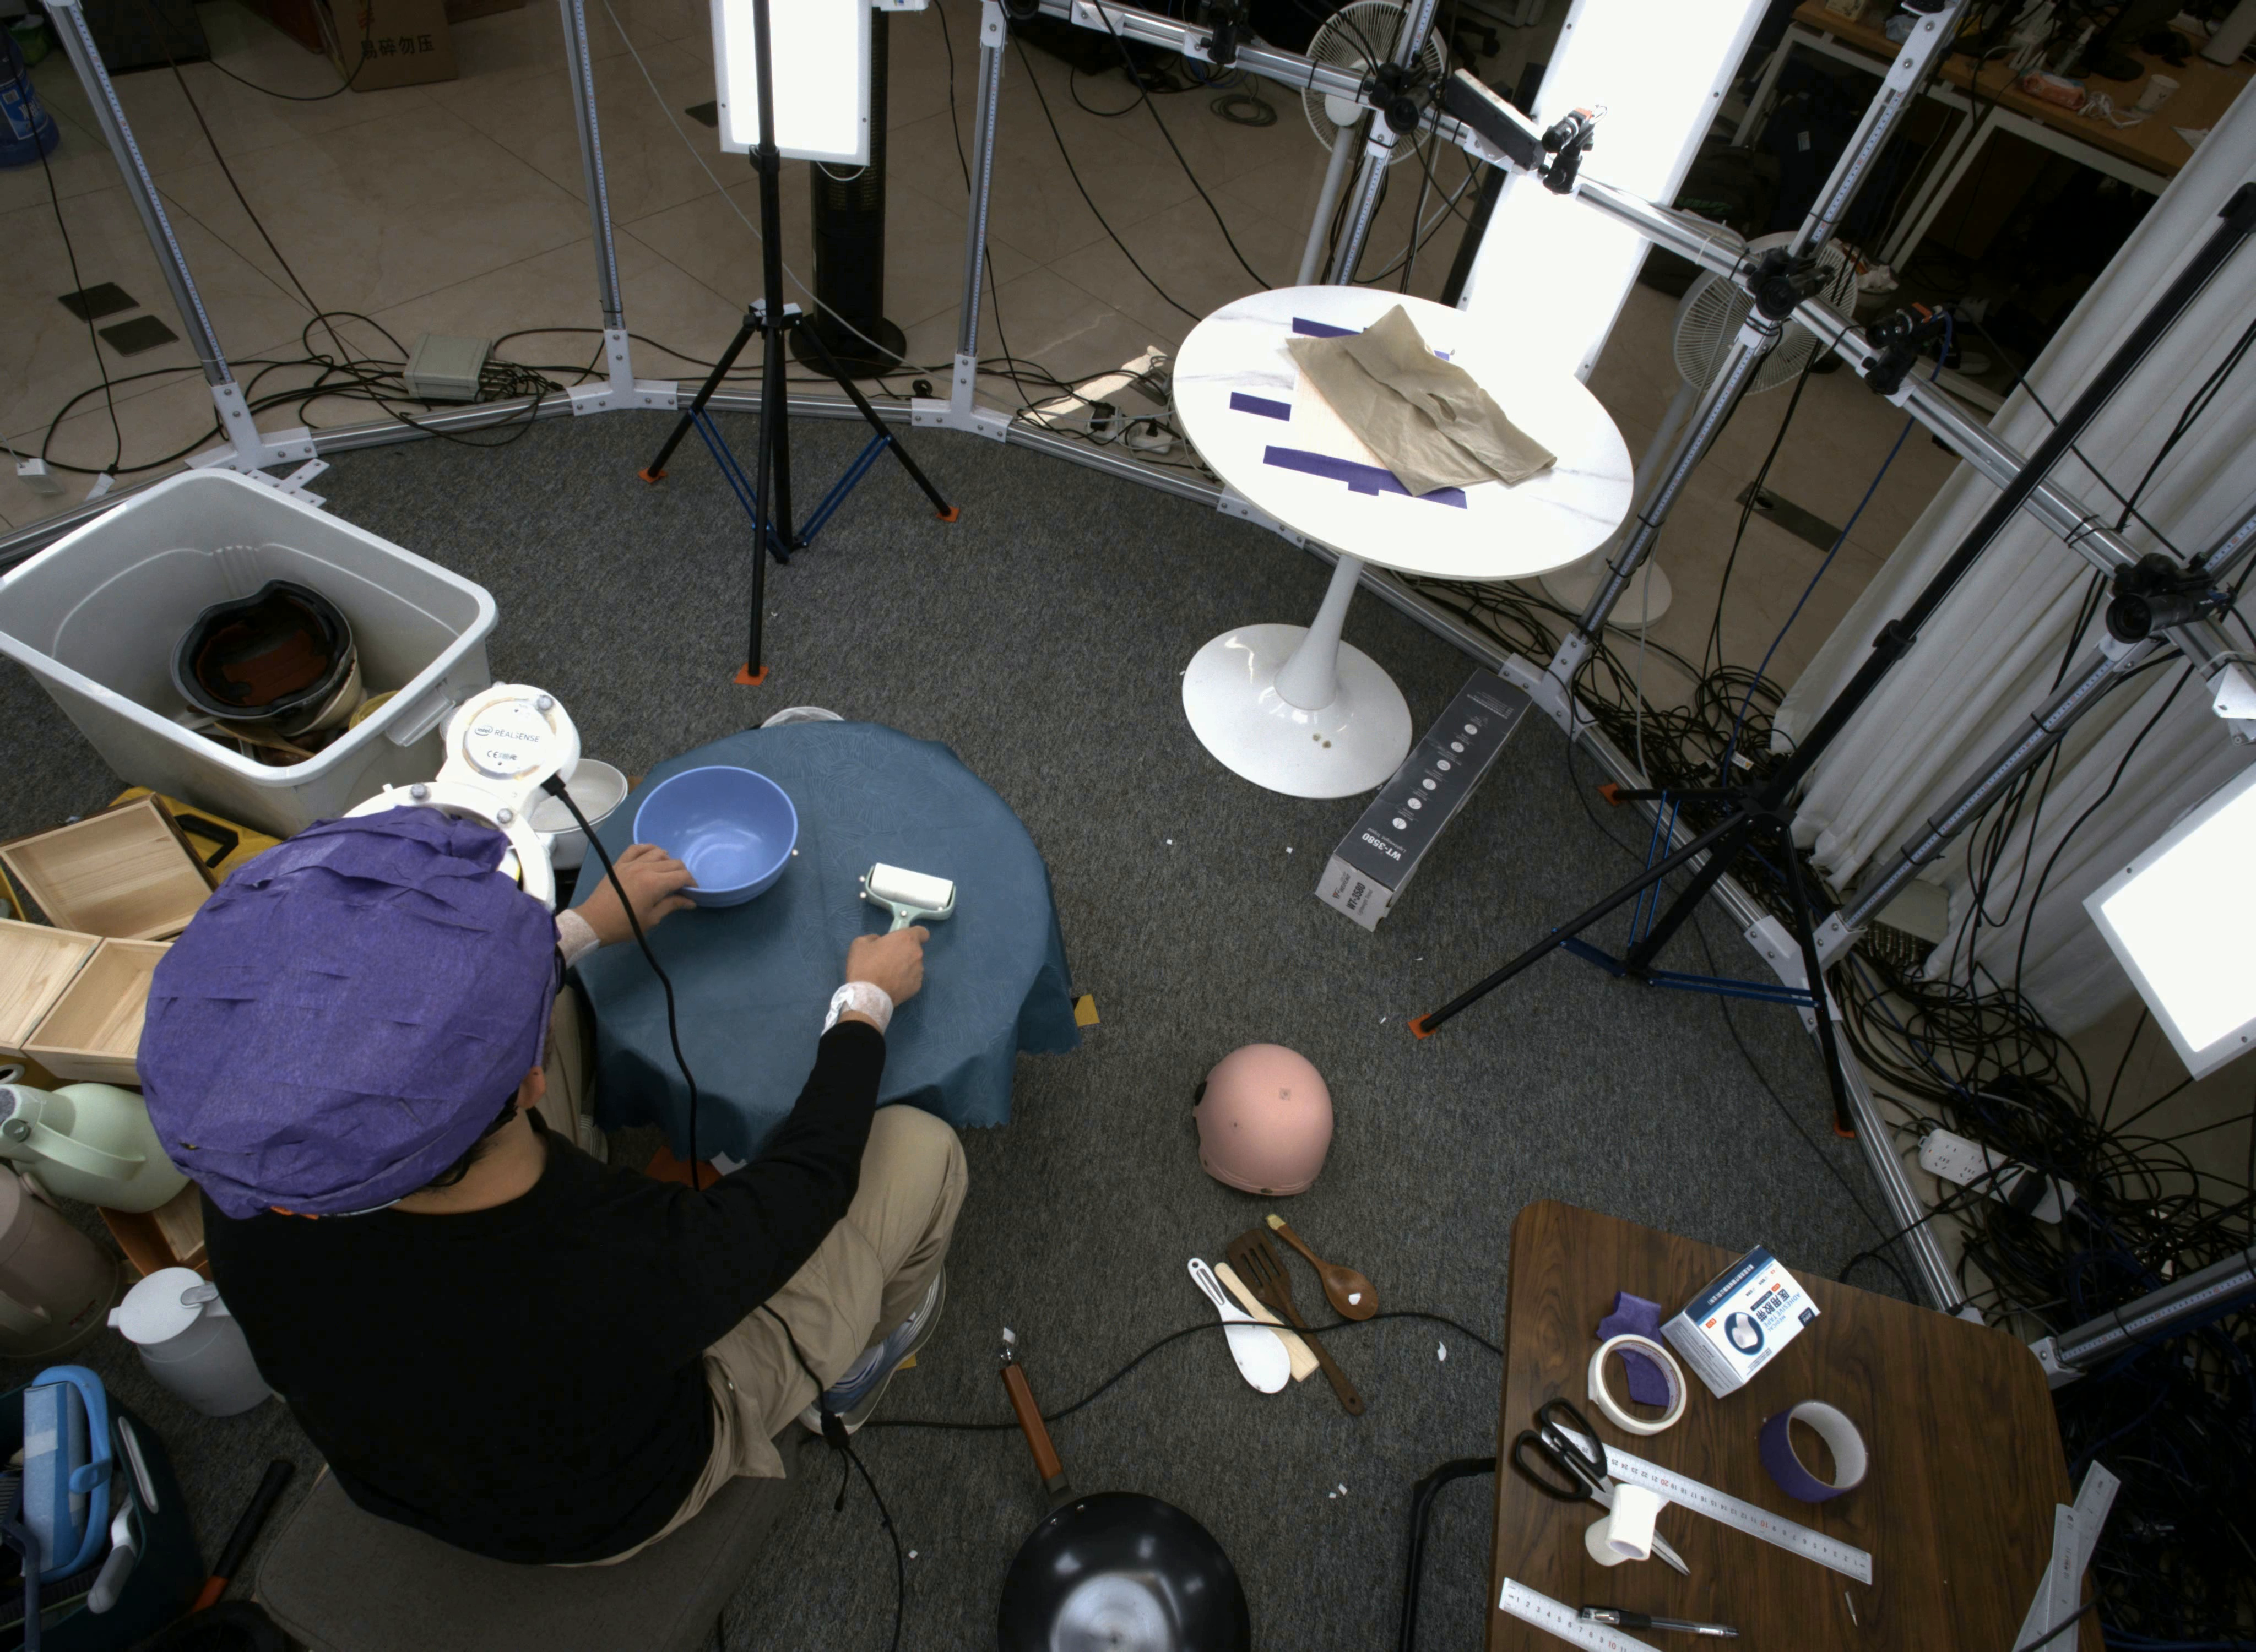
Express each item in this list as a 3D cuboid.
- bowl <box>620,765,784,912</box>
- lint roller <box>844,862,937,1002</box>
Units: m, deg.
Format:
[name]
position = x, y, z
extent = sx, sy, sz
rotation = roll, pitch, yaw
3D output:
[bowl]
position = -0.528, 0.030, 1.607
extent = 0.196, 0.097, 0.193
rotation = 9, 52, -9
[lint roller]
position = -0.304, 0.127, 1.606
extent = 0.117, 0.049, 0.193
rotation = 14, 43, -11
